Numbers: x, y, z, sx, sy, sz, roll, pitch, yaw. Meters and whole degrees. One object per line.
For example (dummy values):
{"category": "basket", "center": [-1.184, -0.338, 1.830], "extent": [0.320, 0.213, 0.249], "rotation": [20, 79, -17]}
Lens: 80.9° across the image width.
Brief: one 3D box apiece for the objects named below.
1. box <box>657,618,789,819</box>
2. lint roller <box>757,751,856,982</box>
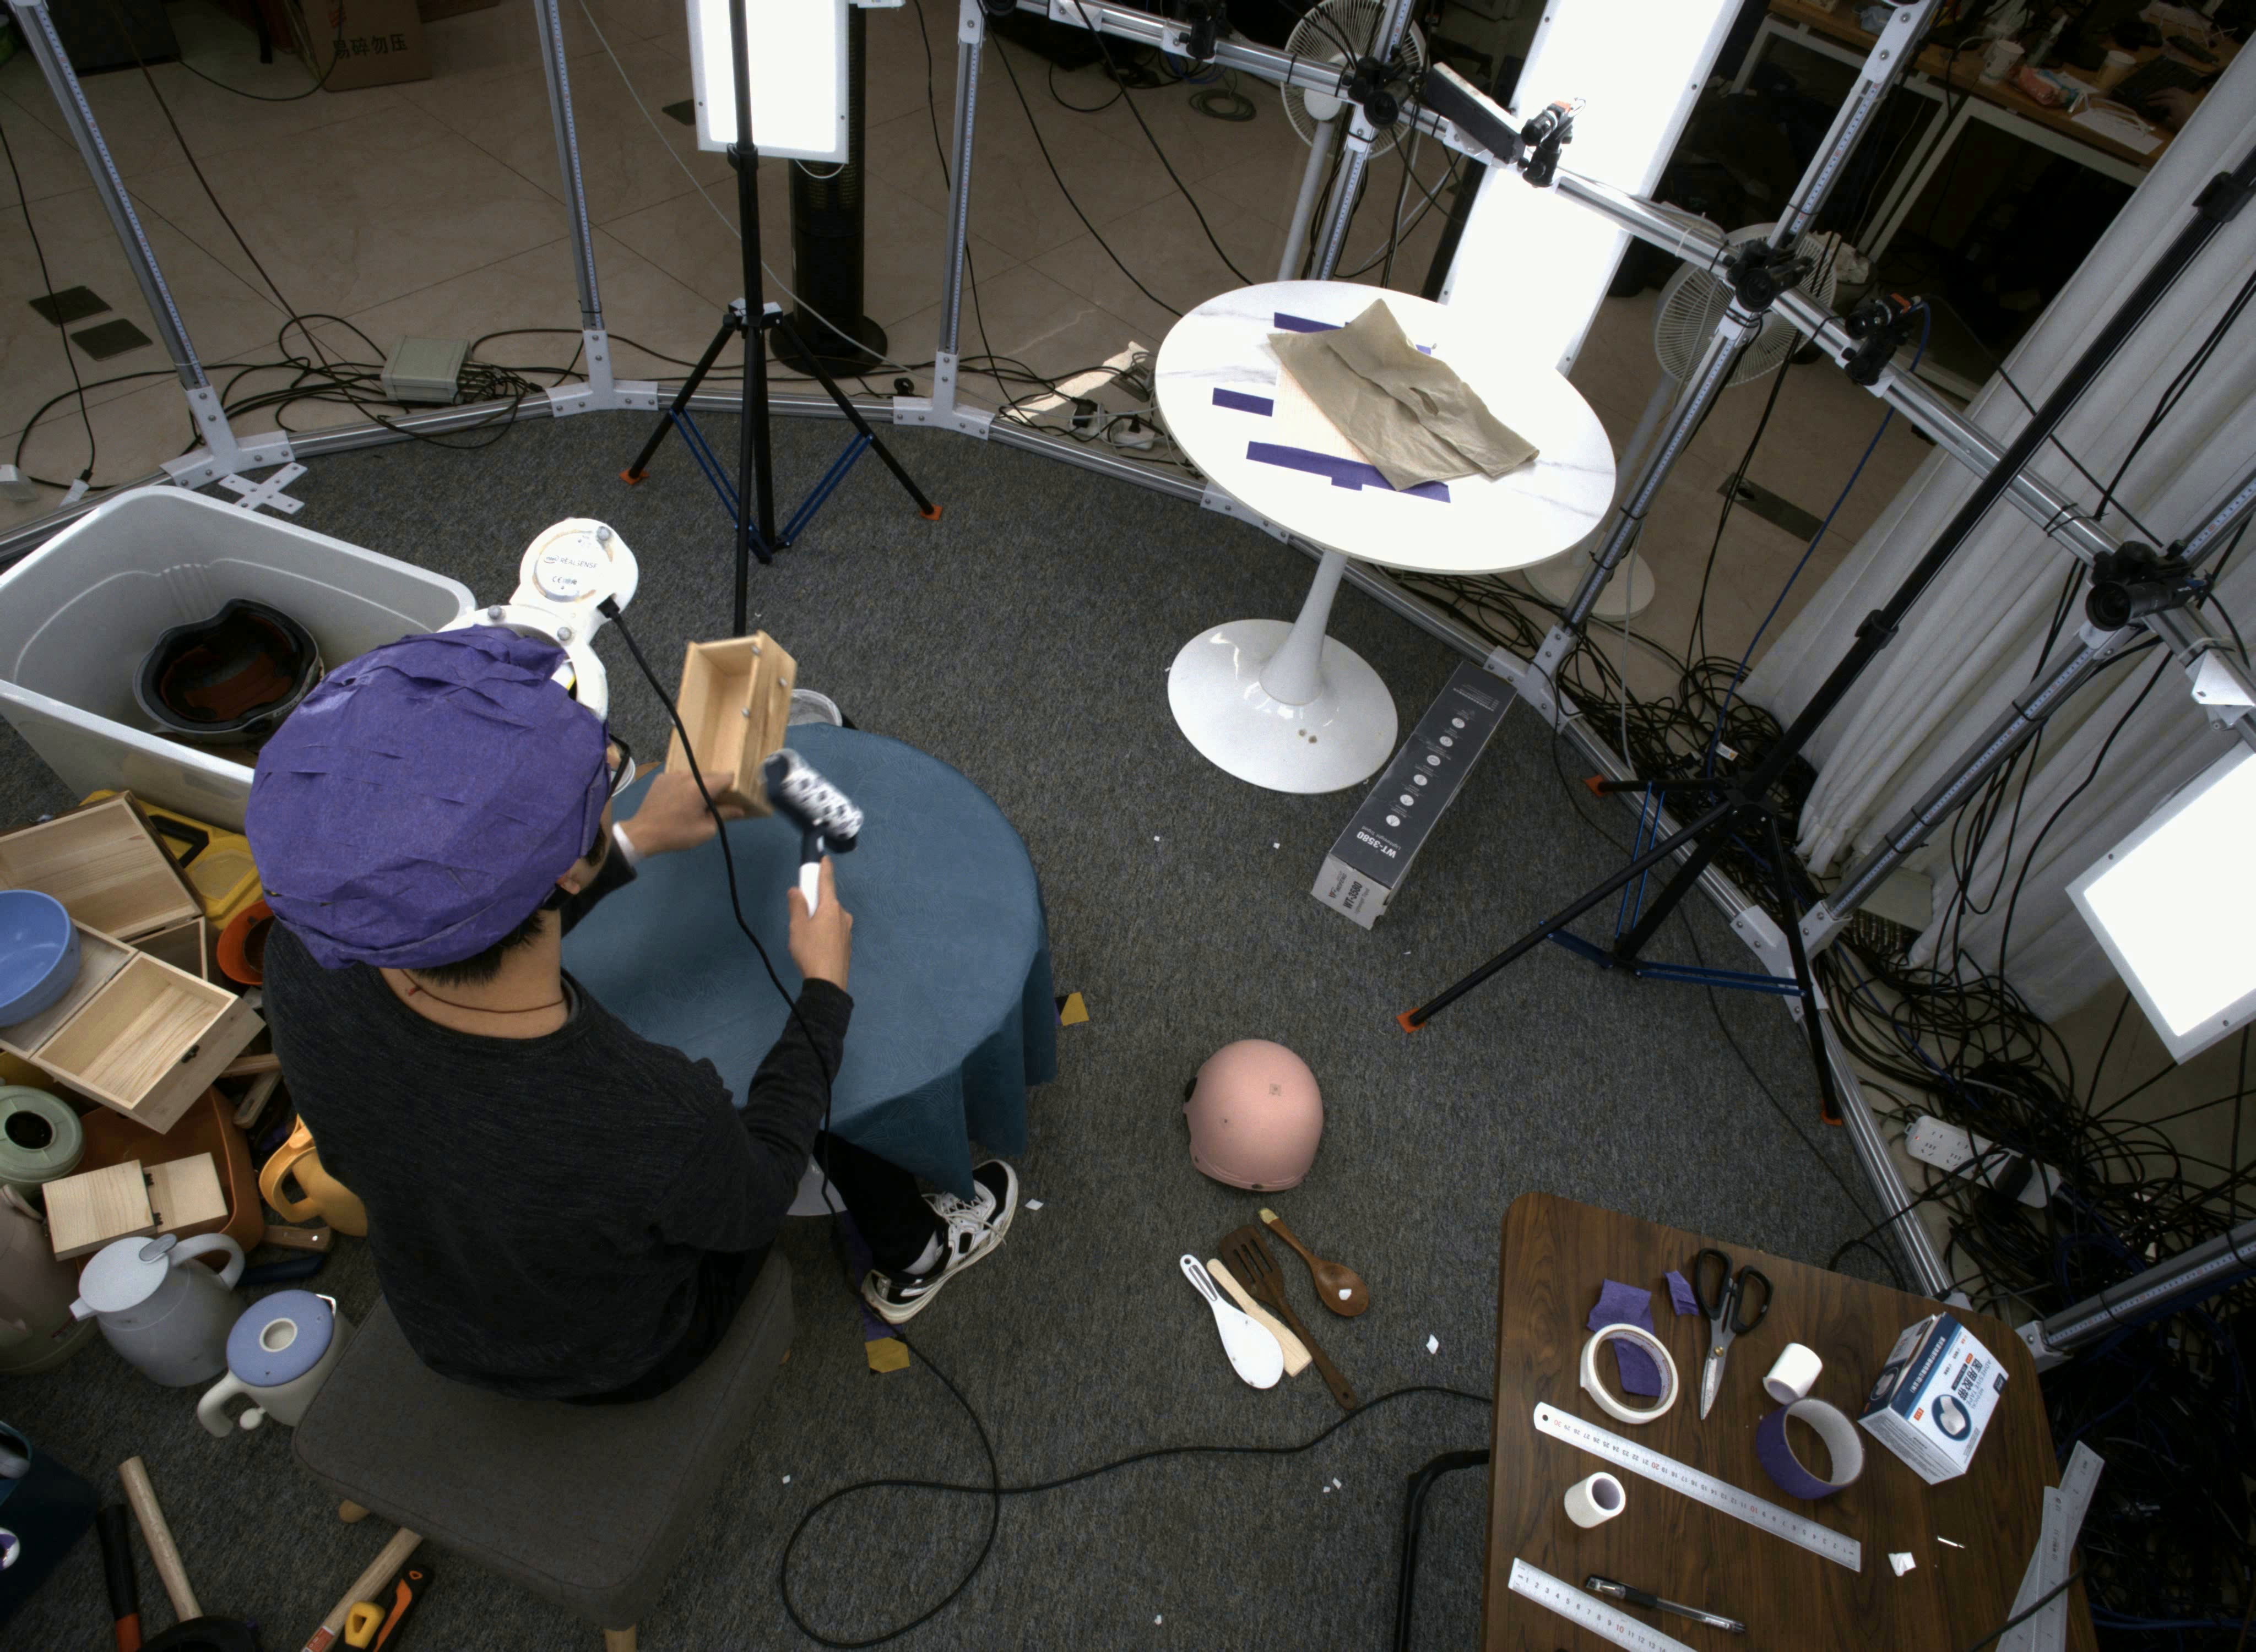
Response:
{"category": "box", "center": [-0.481, -0.128, 1.538], "extent": [0.105, 0.083, 0.209], "rotation": [-7, 67, 16]}
{"category": "lint roller", "center": [-0.357, 0.057, 1.481], "extent": [0.049, 0.181, 0.243], "rotation": [-16, 66, 9]}
